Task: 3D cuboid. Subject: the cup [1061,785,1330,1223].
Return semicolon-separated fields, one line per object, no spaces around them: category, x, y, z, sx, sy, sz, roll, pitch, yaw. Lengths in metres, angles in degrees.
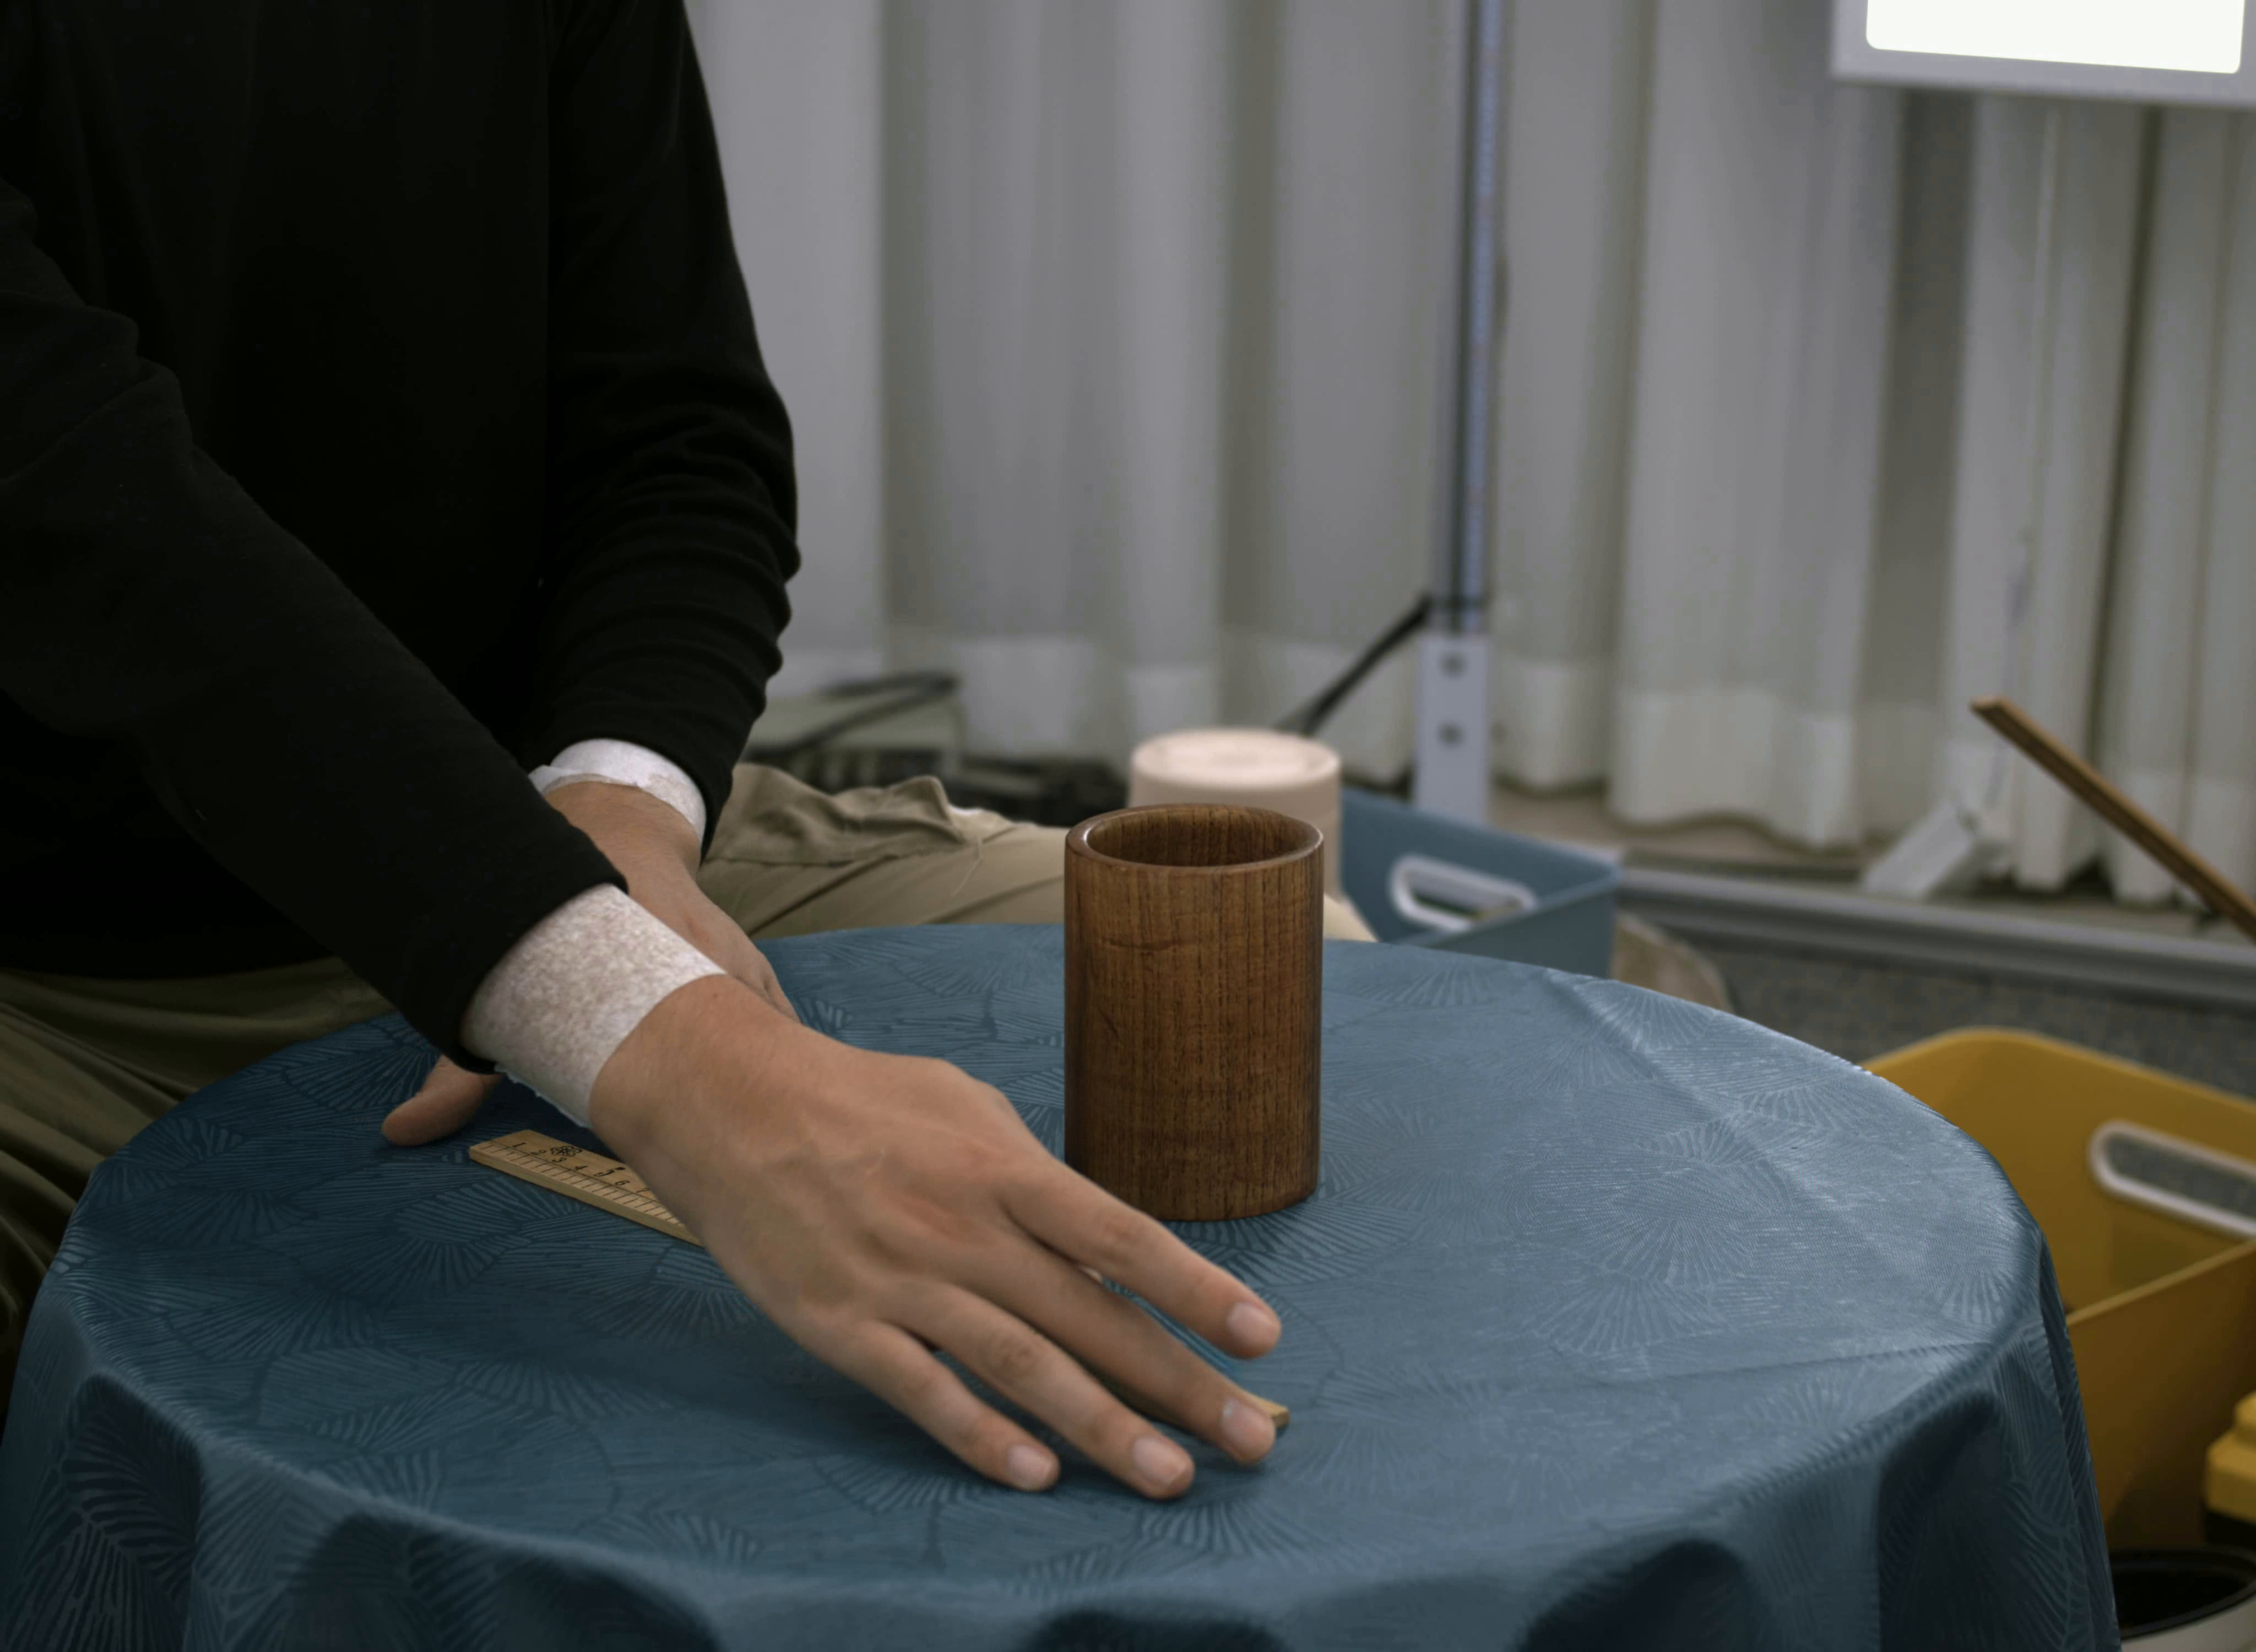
cup;0.020;0.054;1.614;0.087;0.119;0.087;1;15;0

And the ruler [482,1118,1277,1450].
ruler;-0.081;0.129;1.541;0.027;0.022;0.327;-8;17;-43
